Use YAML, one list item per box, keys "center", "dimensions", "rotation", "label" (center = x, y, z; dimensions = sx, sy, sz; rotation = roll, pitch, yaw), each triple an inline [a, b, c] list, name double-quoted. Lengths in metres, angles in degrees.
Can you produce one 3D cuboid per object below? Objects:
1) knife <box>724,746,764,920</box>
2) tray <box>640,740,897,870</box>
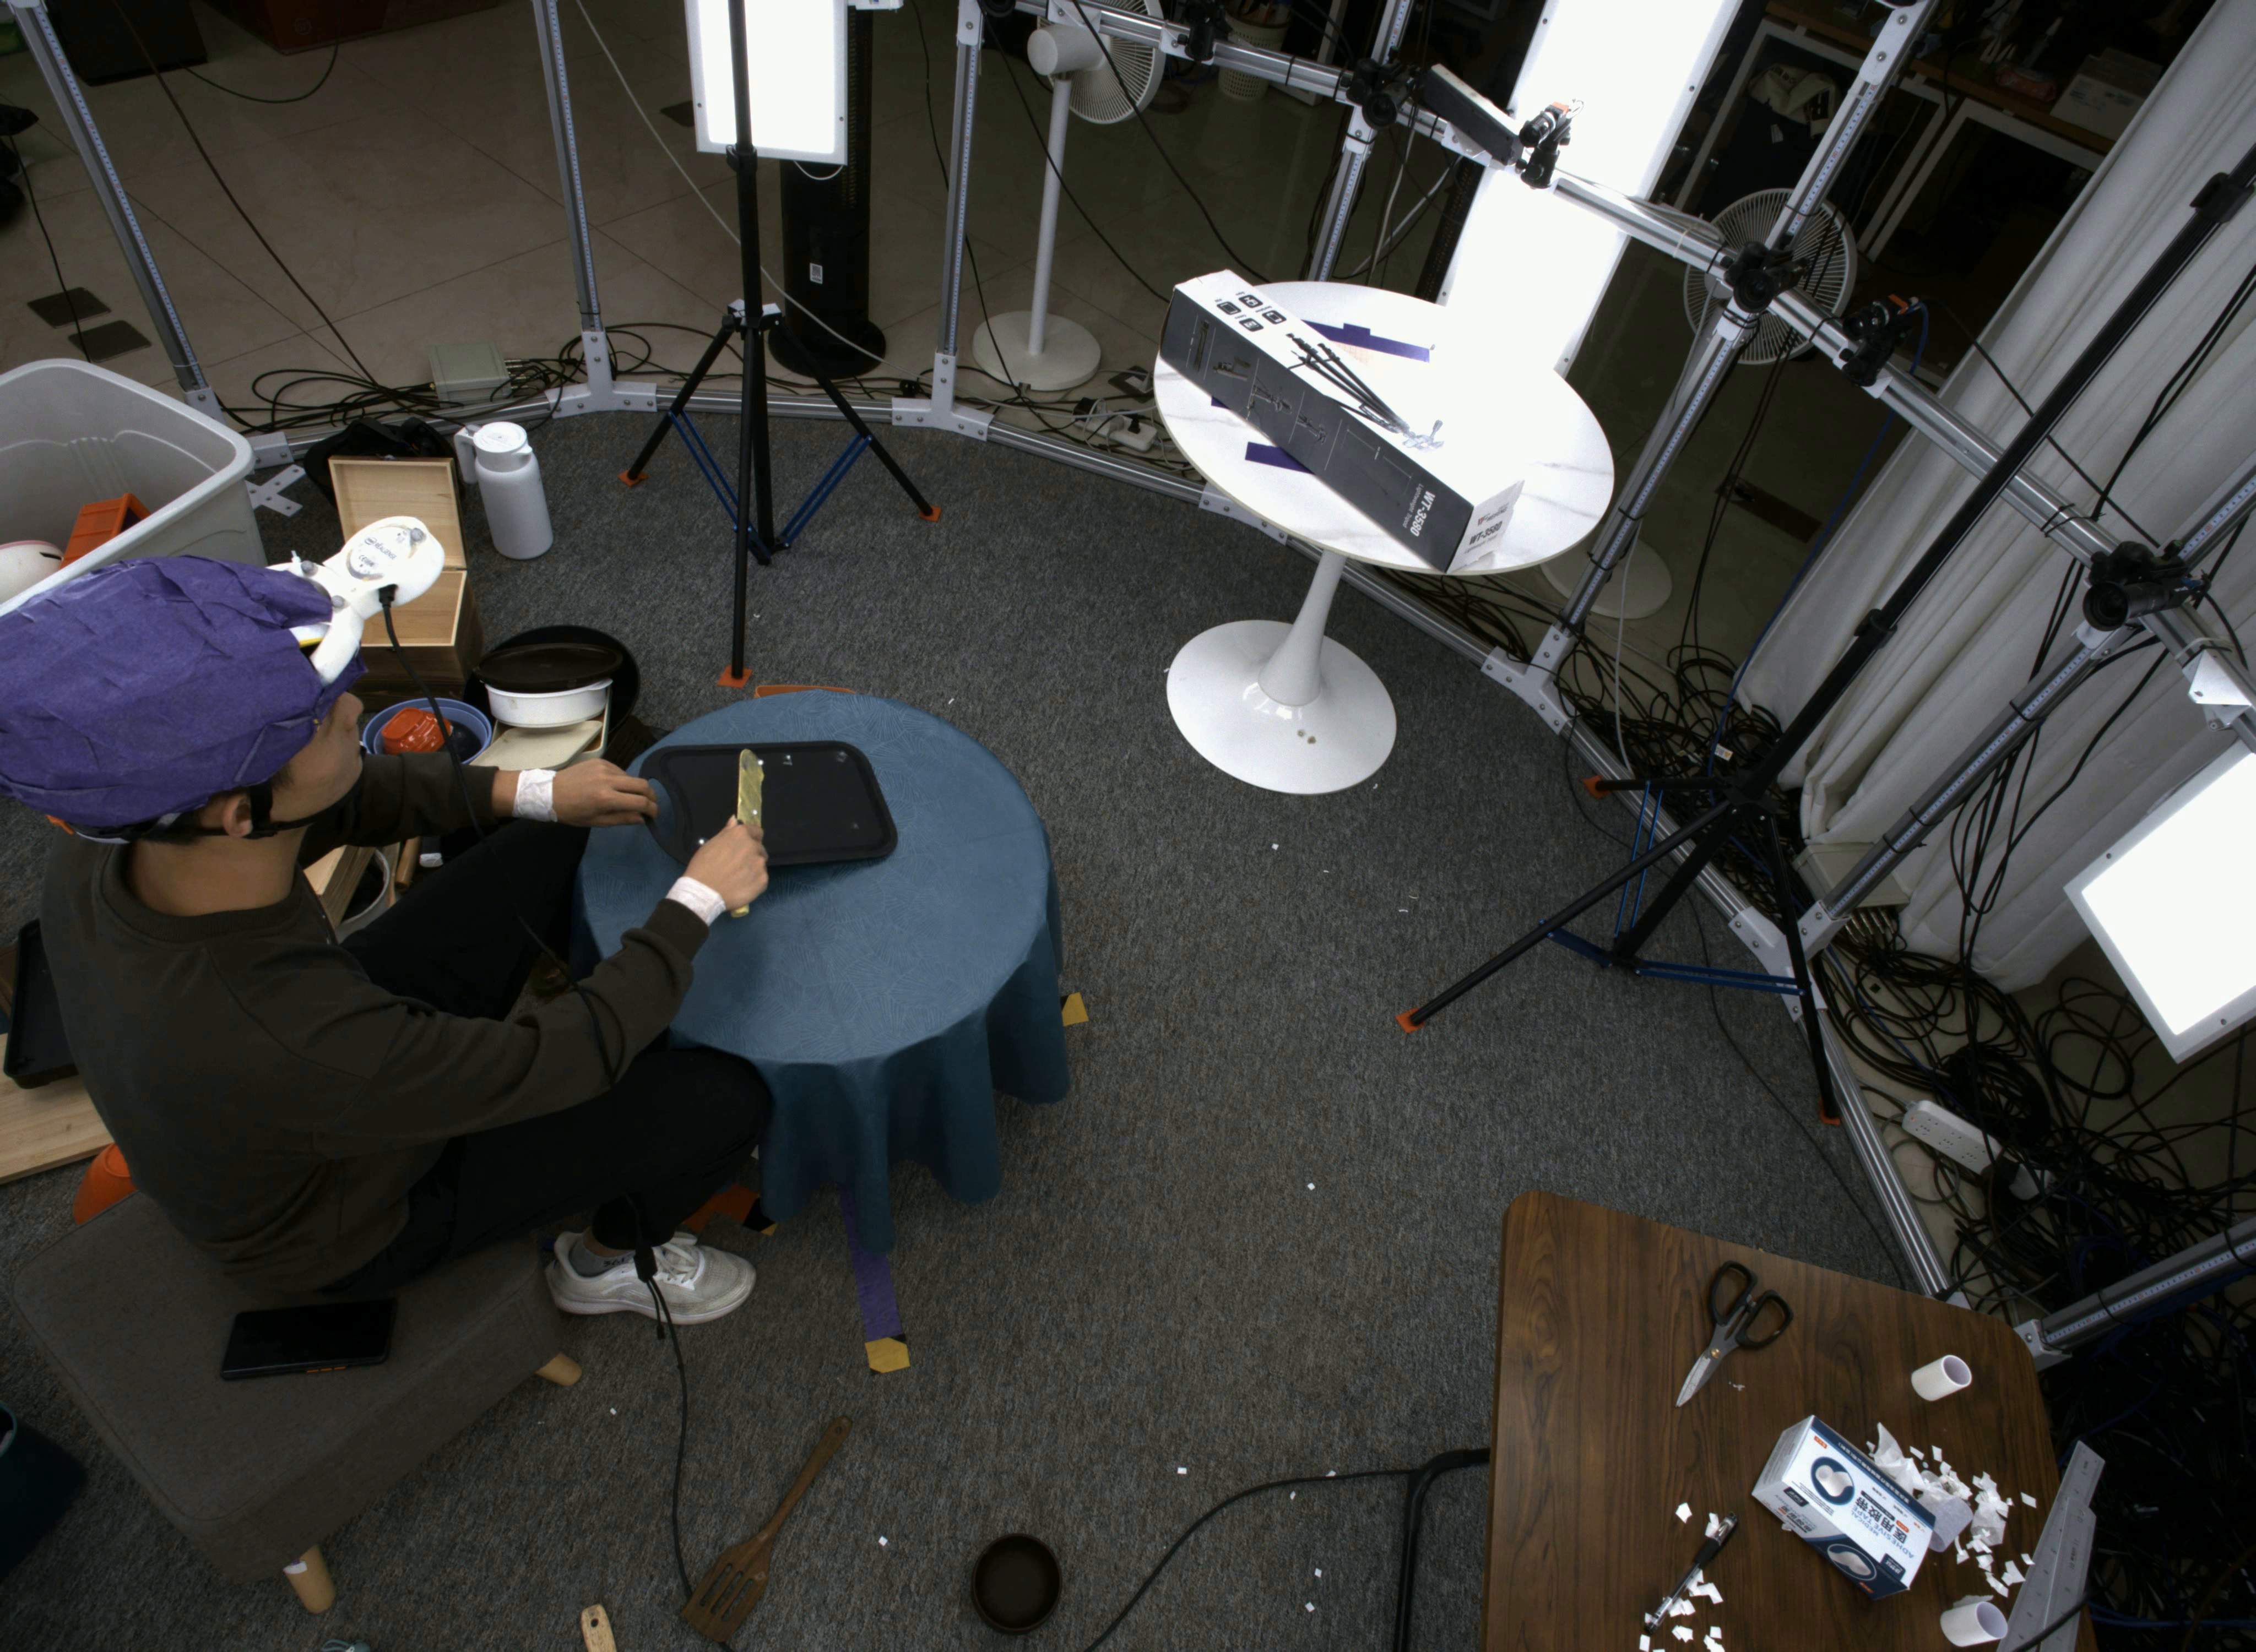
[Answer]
- center: [-0.472, 0.006, 1.605]
  dimensions: [0.027, 0.084, 0.282]
  rotation: [-13, 49, 5]
  label: "knife"
- center: [-0.471, -0.034, 1.692]
  dimensions: [0.330, 0.010, 0.206]
  rotation: [-4, 54, -35]
  label: "tray"
